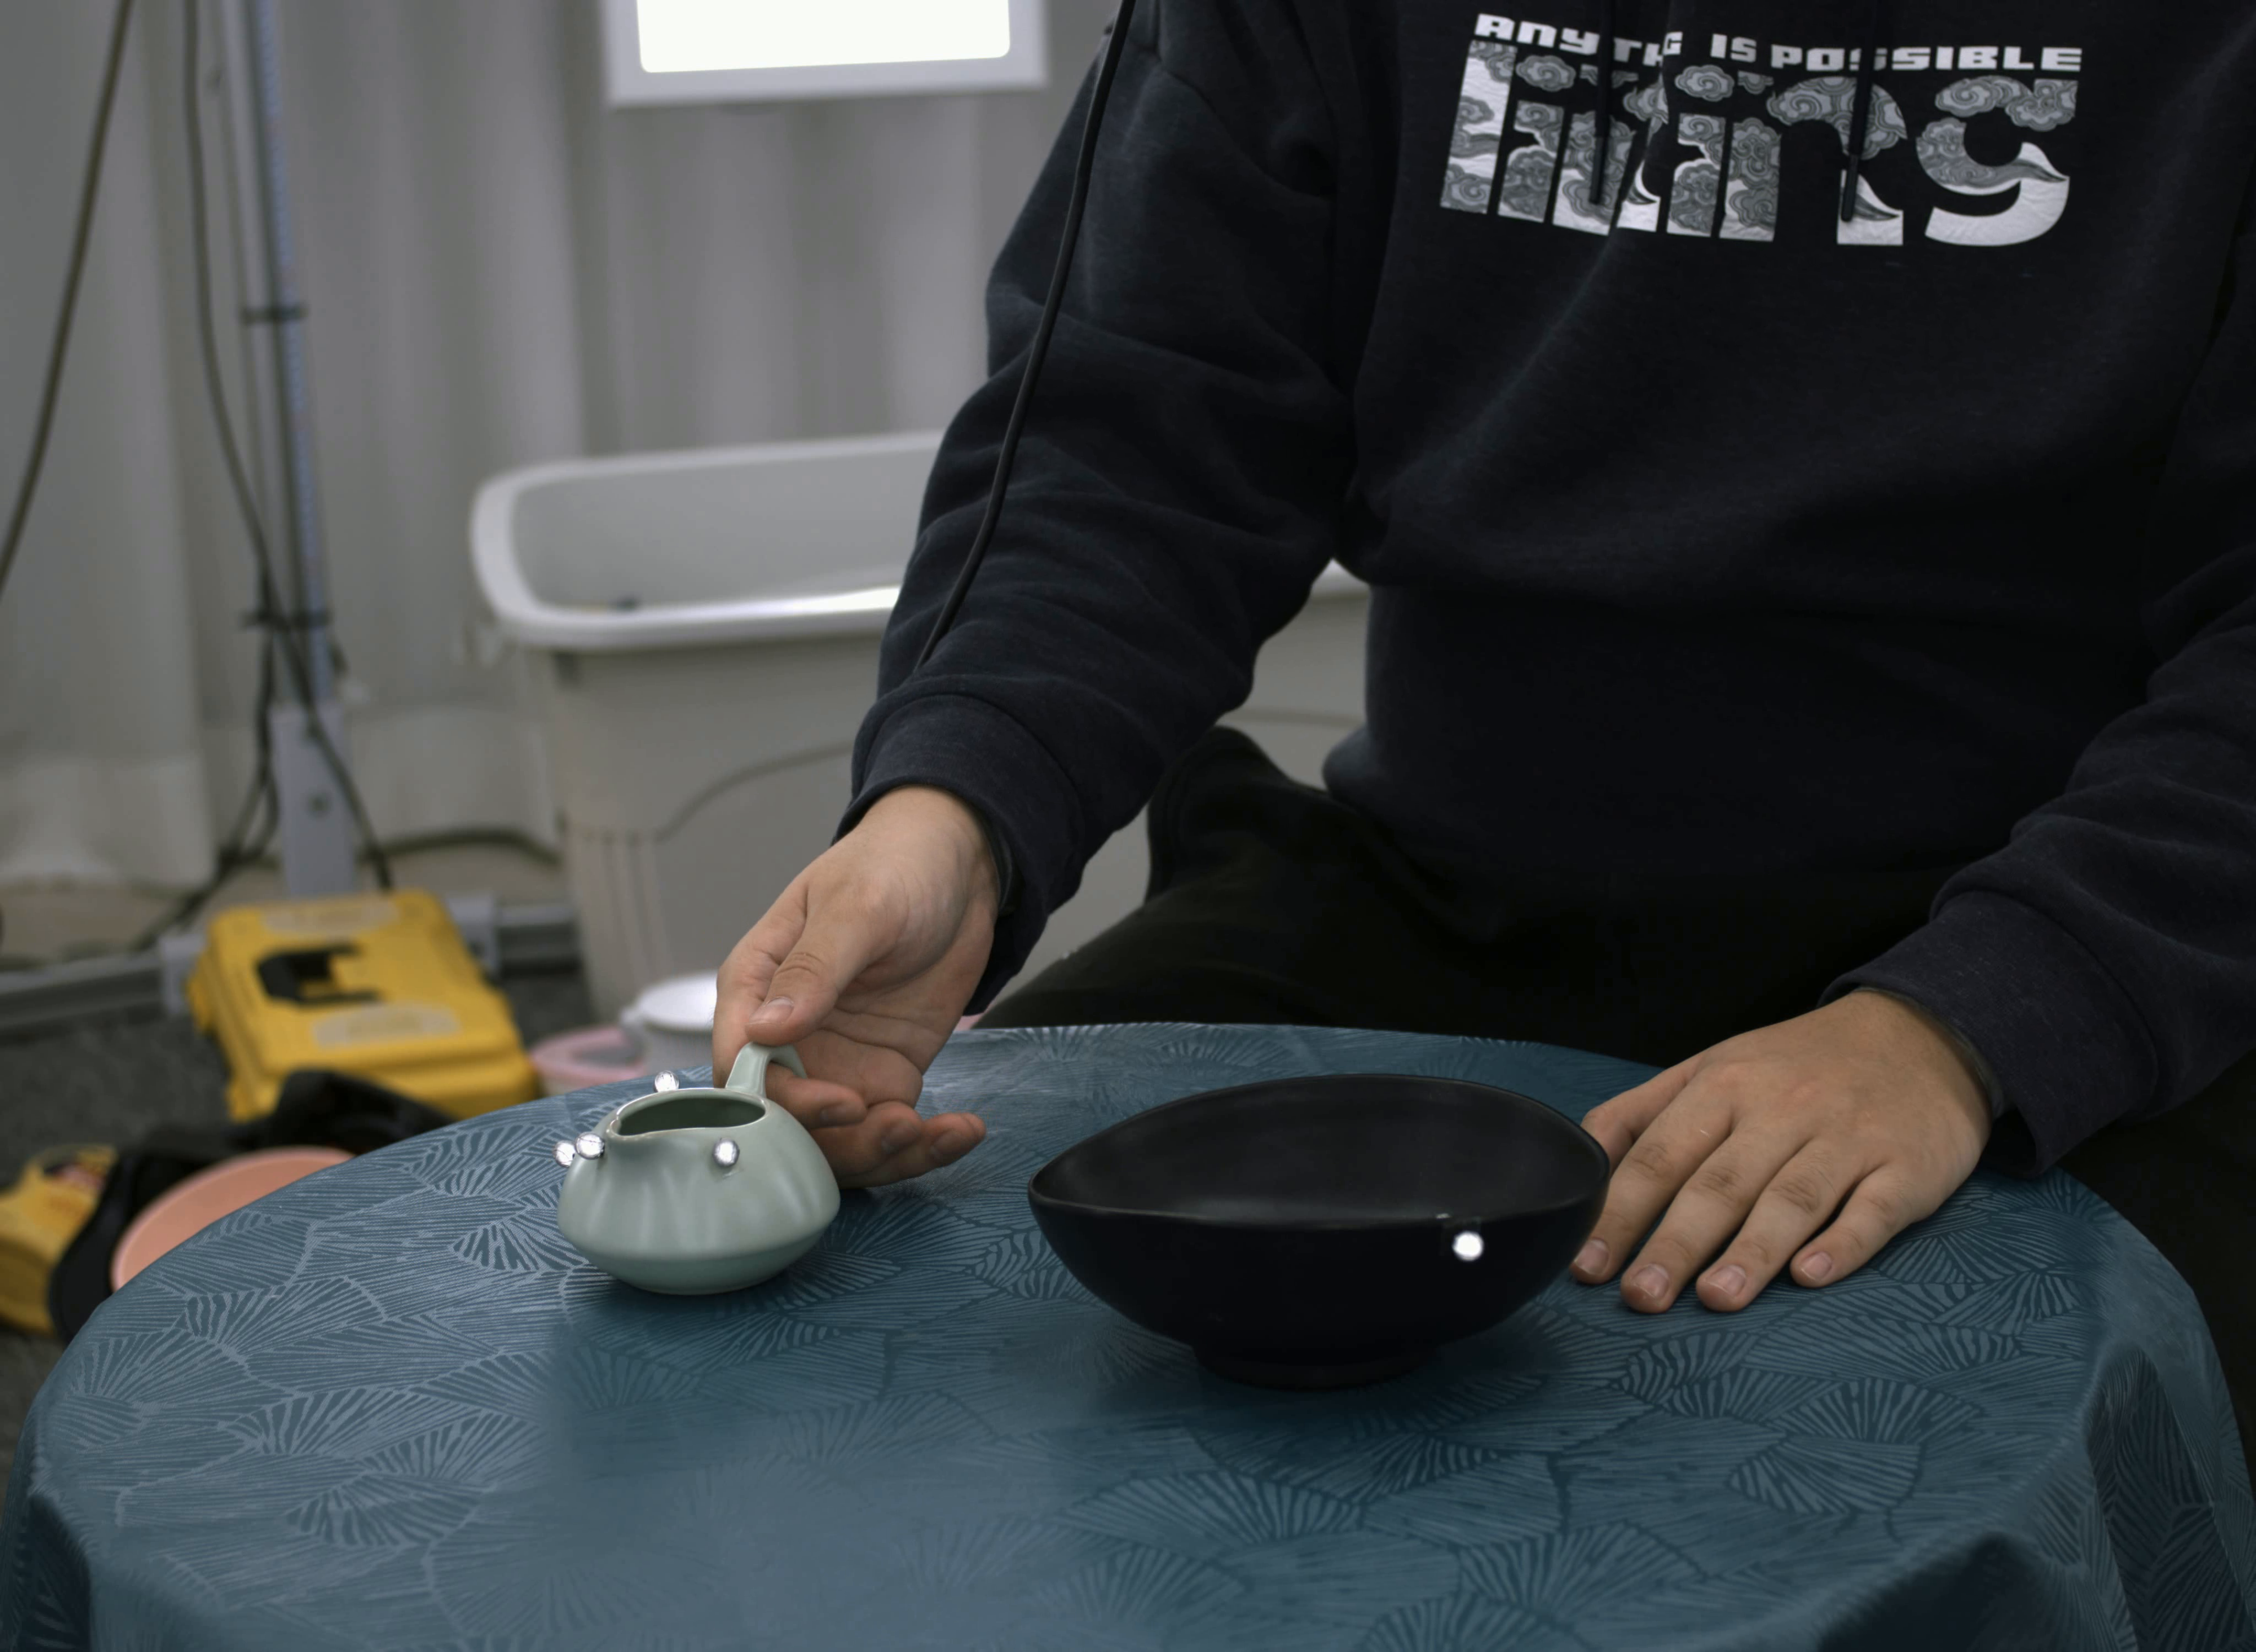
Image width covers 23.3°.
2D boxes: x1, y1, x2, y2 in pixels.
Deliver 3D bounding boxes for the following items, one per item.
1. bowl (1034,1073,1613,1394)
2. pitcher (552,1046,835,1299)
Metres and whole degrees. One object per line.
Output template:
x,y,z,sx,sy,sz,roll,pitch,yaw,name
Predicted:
0.055,0.121,1.562,0.170,0.066,0.138,1,14,17,bowl
-0.127,0.106,1.666,0.086,0.060,0.108,5,14,23,pitcher
